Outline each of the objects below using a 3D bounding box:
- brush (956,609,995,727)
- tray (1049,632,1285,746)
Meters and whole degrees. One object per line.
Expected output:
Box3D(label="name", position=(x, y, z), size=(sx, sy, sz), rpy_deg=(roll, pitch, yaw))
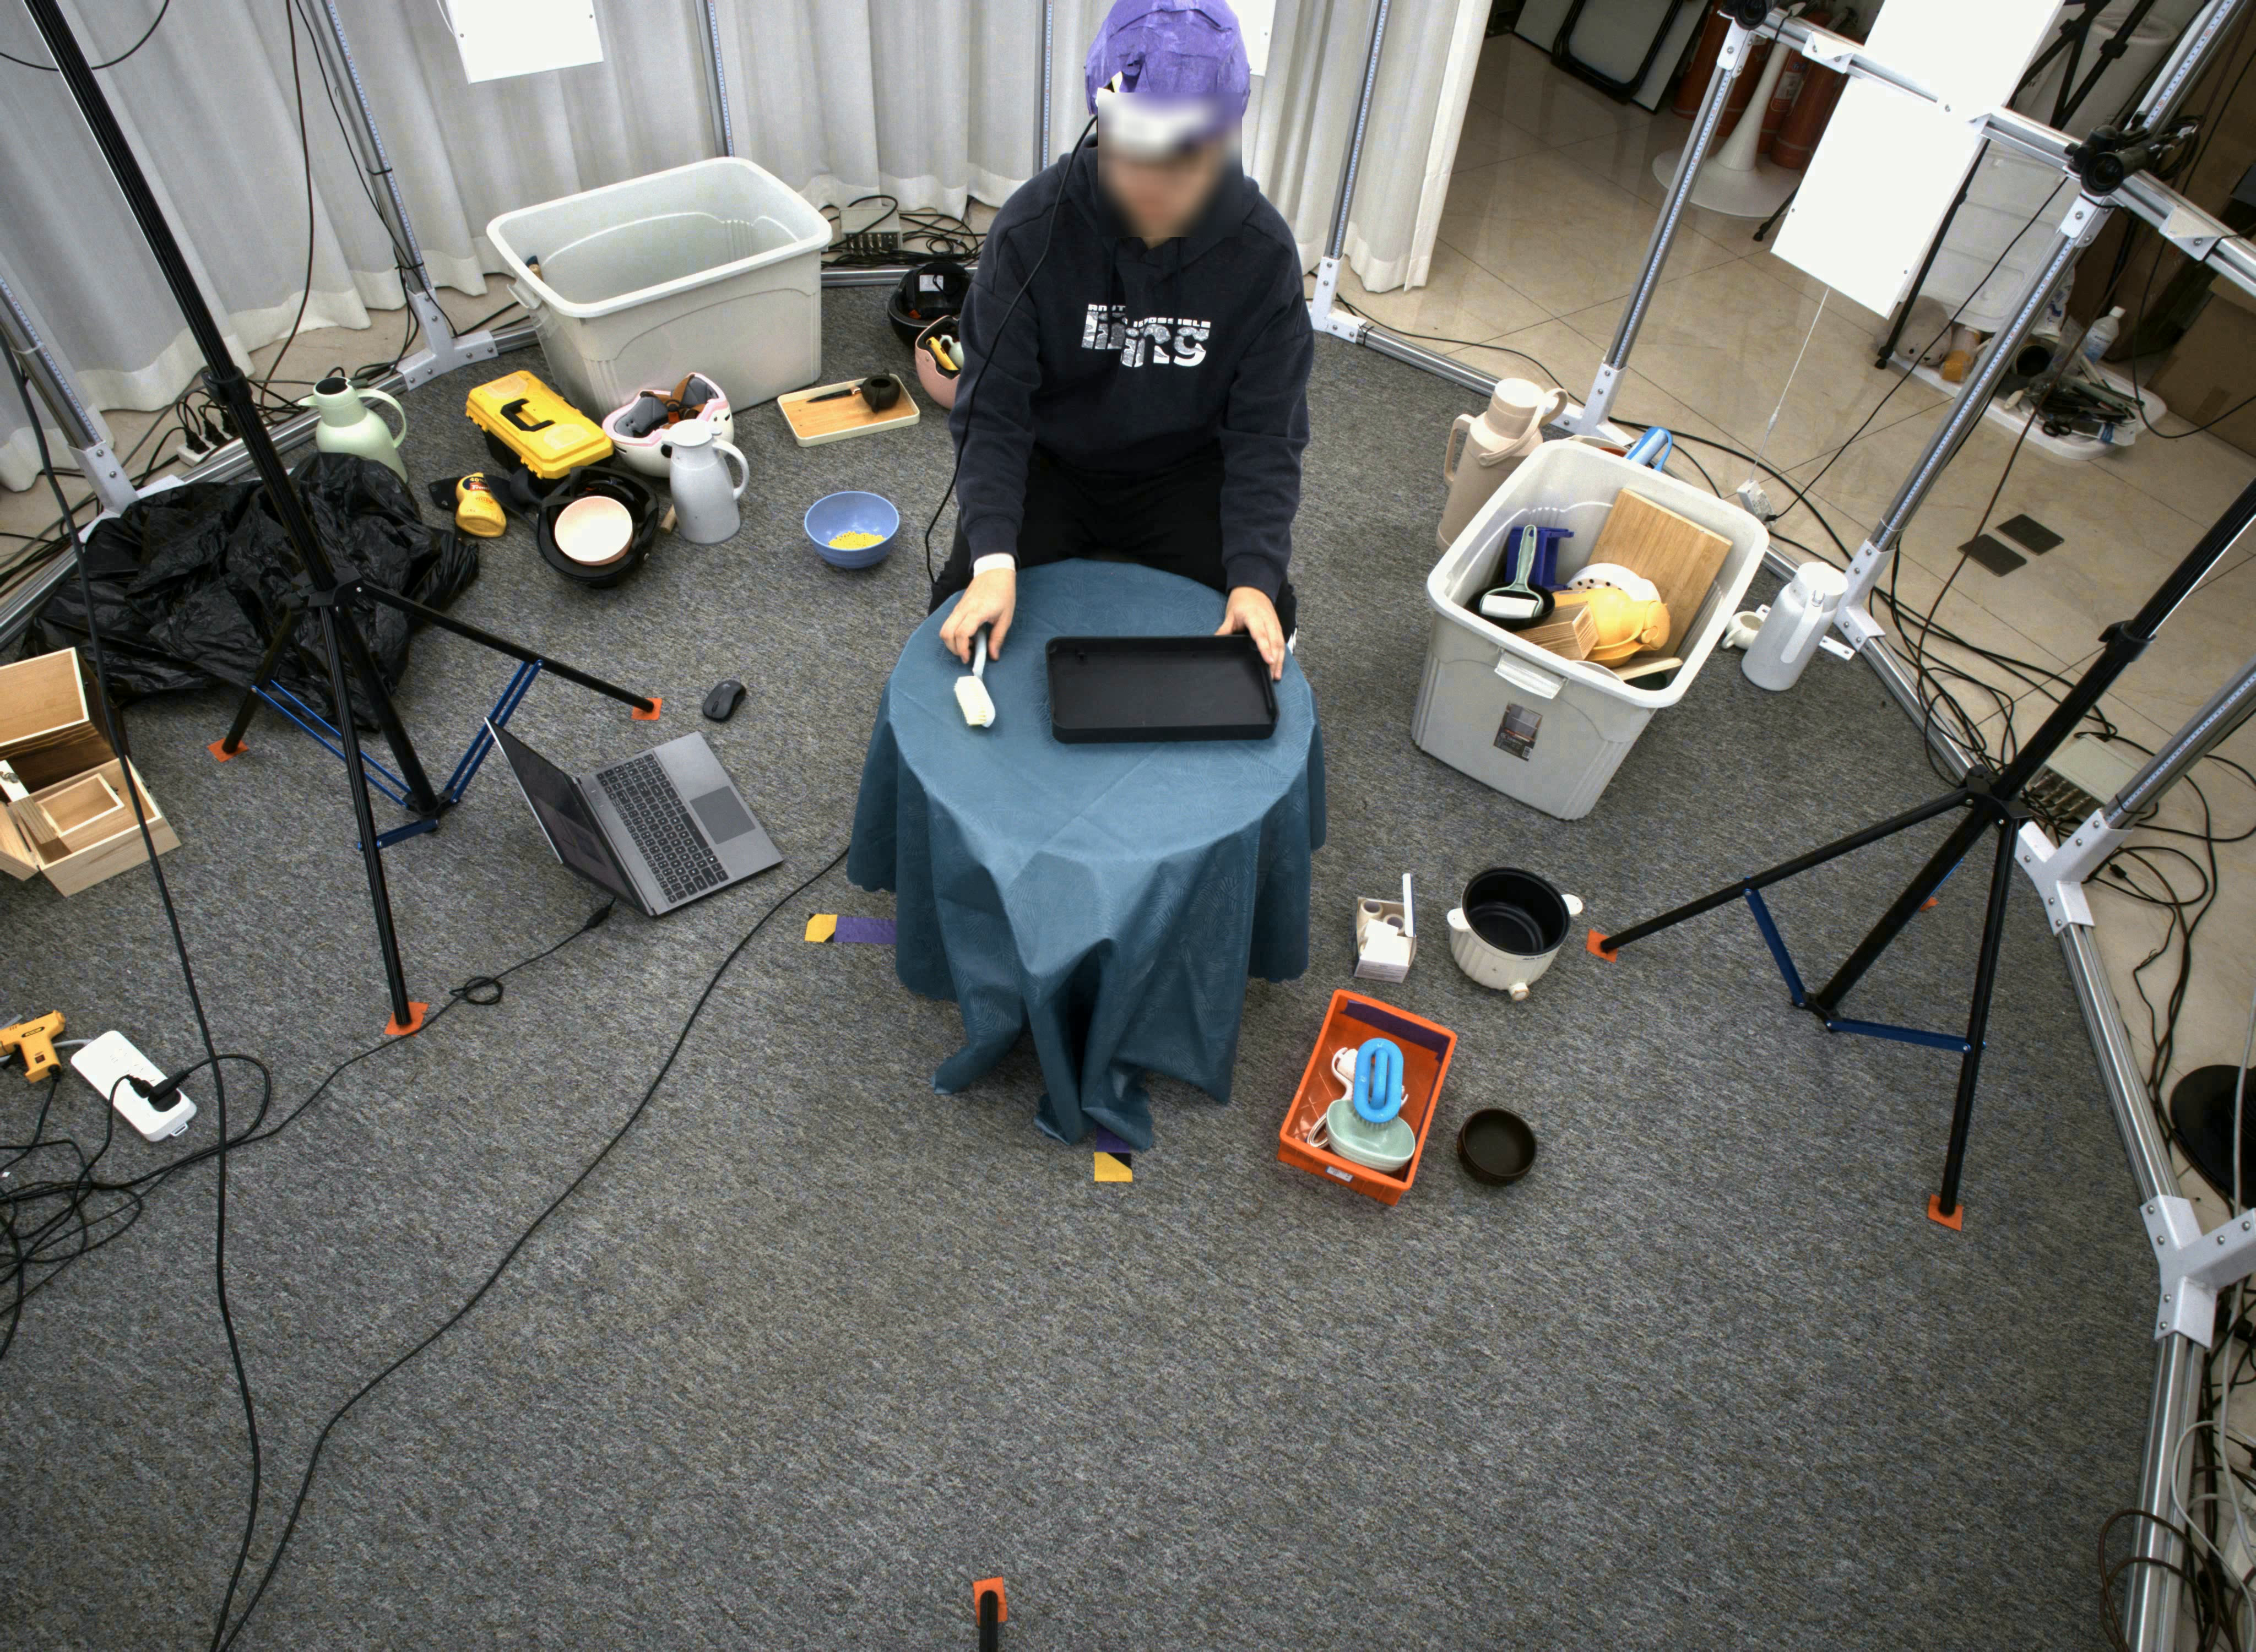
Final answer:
Box3D(label="brush", position=(-0.220, -0.229, 1.822), size=(0.049, 0.037, 0.234), rpy_deg=(5, 47, -16))
Box3D(label="tray", position=(0.052, -0.196, 1.817), size=(0.317, 0.036, 0.189), rpy_deg=(-3, 49, -7))
